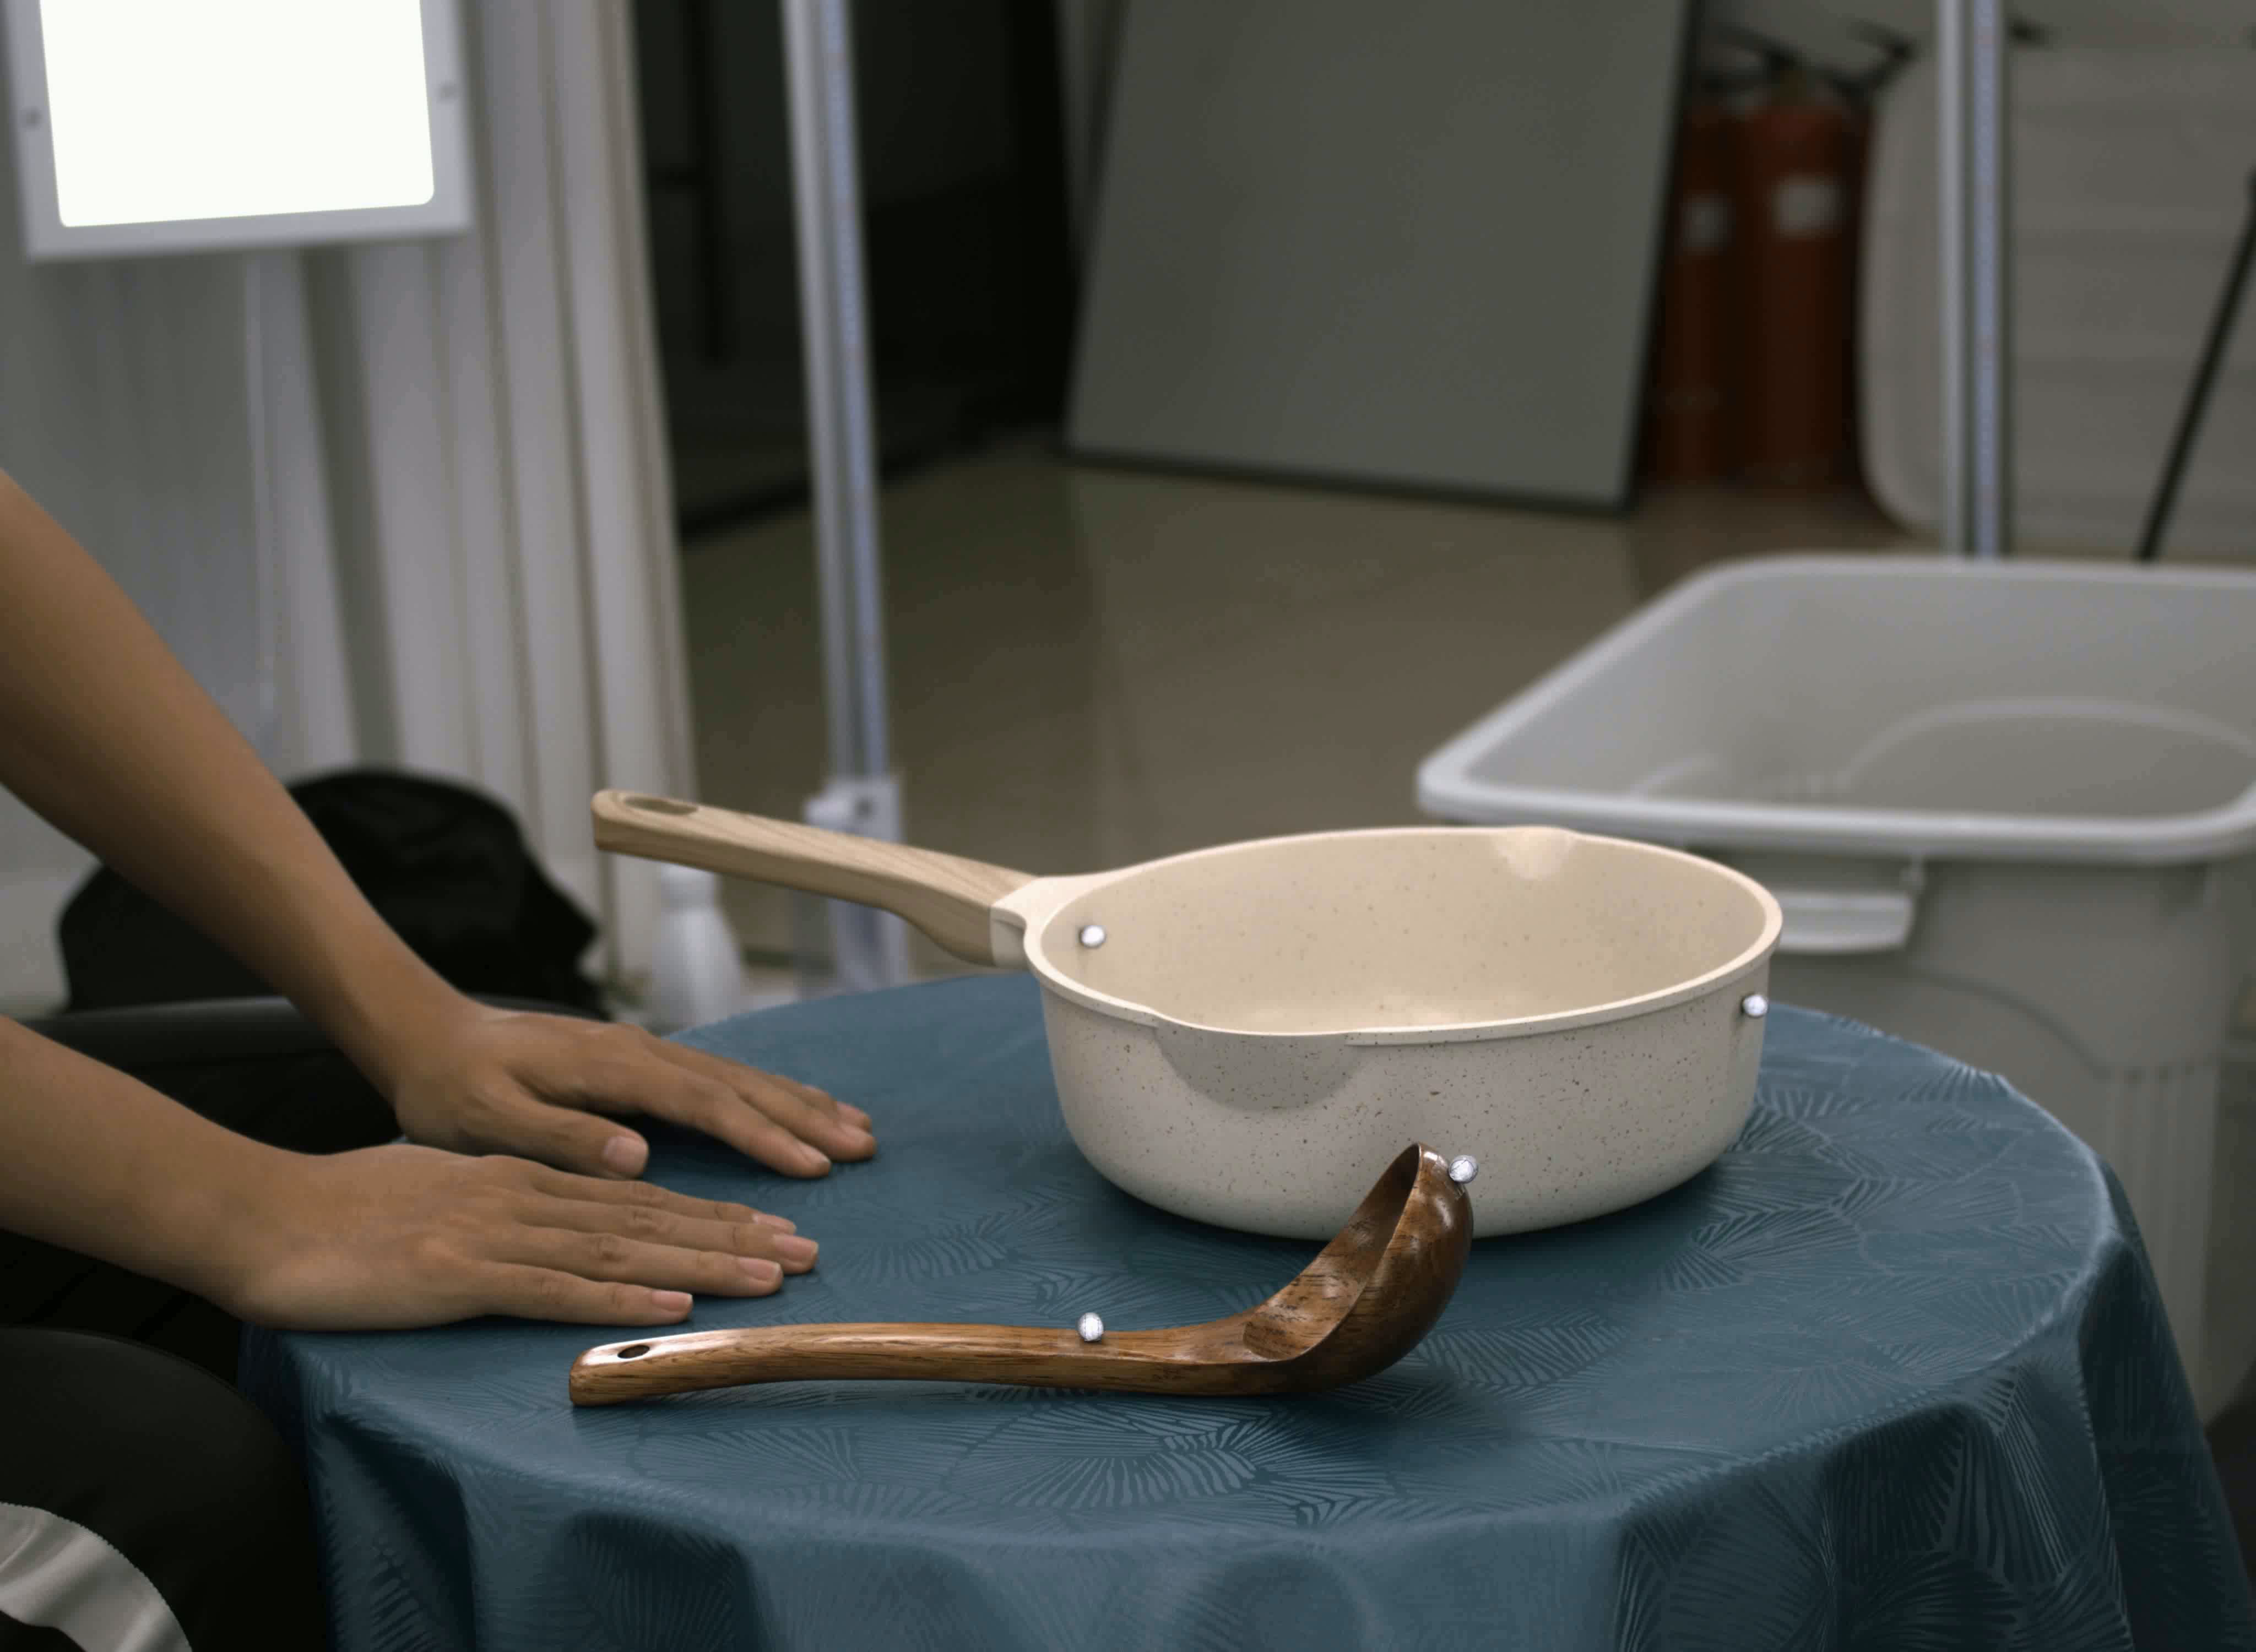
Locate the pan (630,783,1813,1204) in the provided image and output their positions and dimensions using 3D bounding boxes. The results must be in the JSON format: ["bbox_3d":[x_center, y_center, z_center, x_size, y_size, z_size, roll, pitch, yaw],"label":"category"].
[{"bbox_3d":[0.023,0.046,1.840,0.436,0.103,0.260,3,16,27],"label":"pan"}]

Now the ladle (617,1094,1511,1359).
[{"bbox_3d":[-0.022,0.120,1.592,0.272,0.077,0.081,-1,14,10],"label":"ladle"}]
